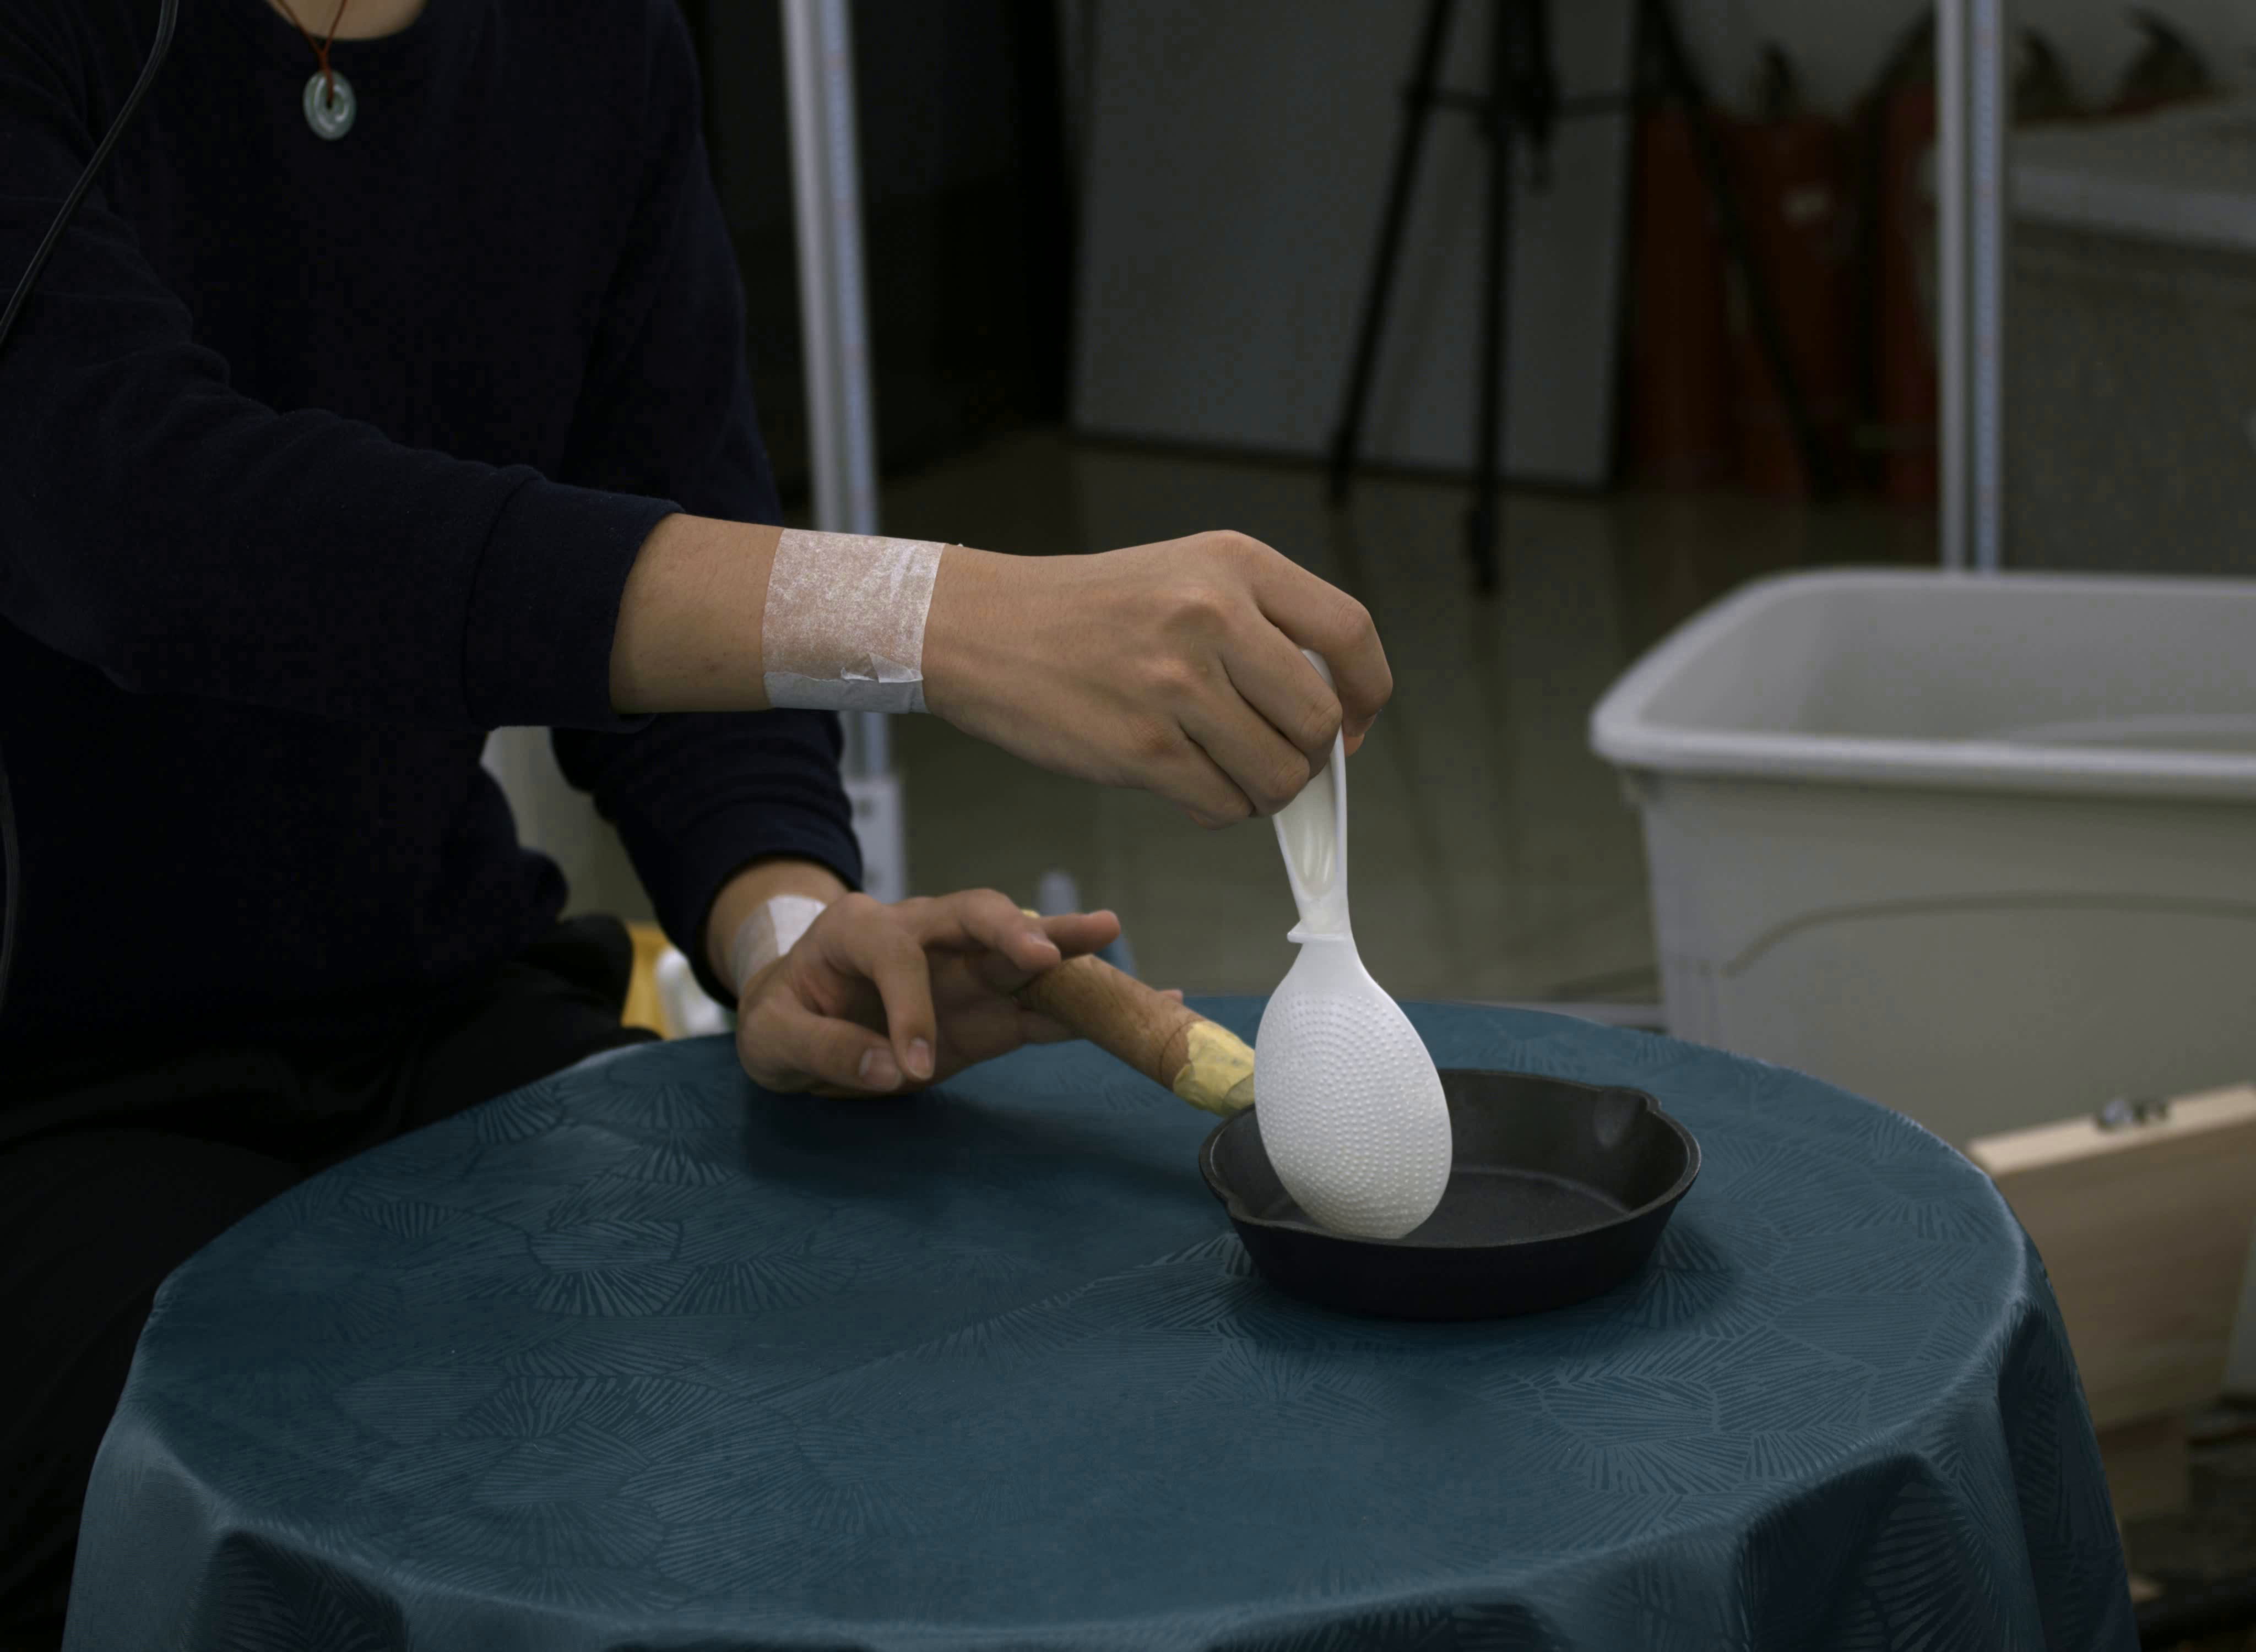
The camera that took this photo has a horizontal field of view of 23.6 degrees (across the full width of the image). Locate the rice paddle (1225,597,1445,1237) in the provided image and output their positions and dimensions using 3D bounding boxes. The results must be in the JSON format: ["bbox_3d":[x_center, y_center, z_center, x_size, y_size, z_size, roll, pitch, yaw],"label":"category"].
[{"bbox_3d":[0.059,0.032,1.650,0.069,0.207,0.029,4,23,32],"label":"rice paddle"}]

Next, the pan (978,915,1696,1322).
[{"bbox_3d":[0.051,0.090,1.743,0.165,0.050,0.328,-13,21,-33],"label":"pan"}]
